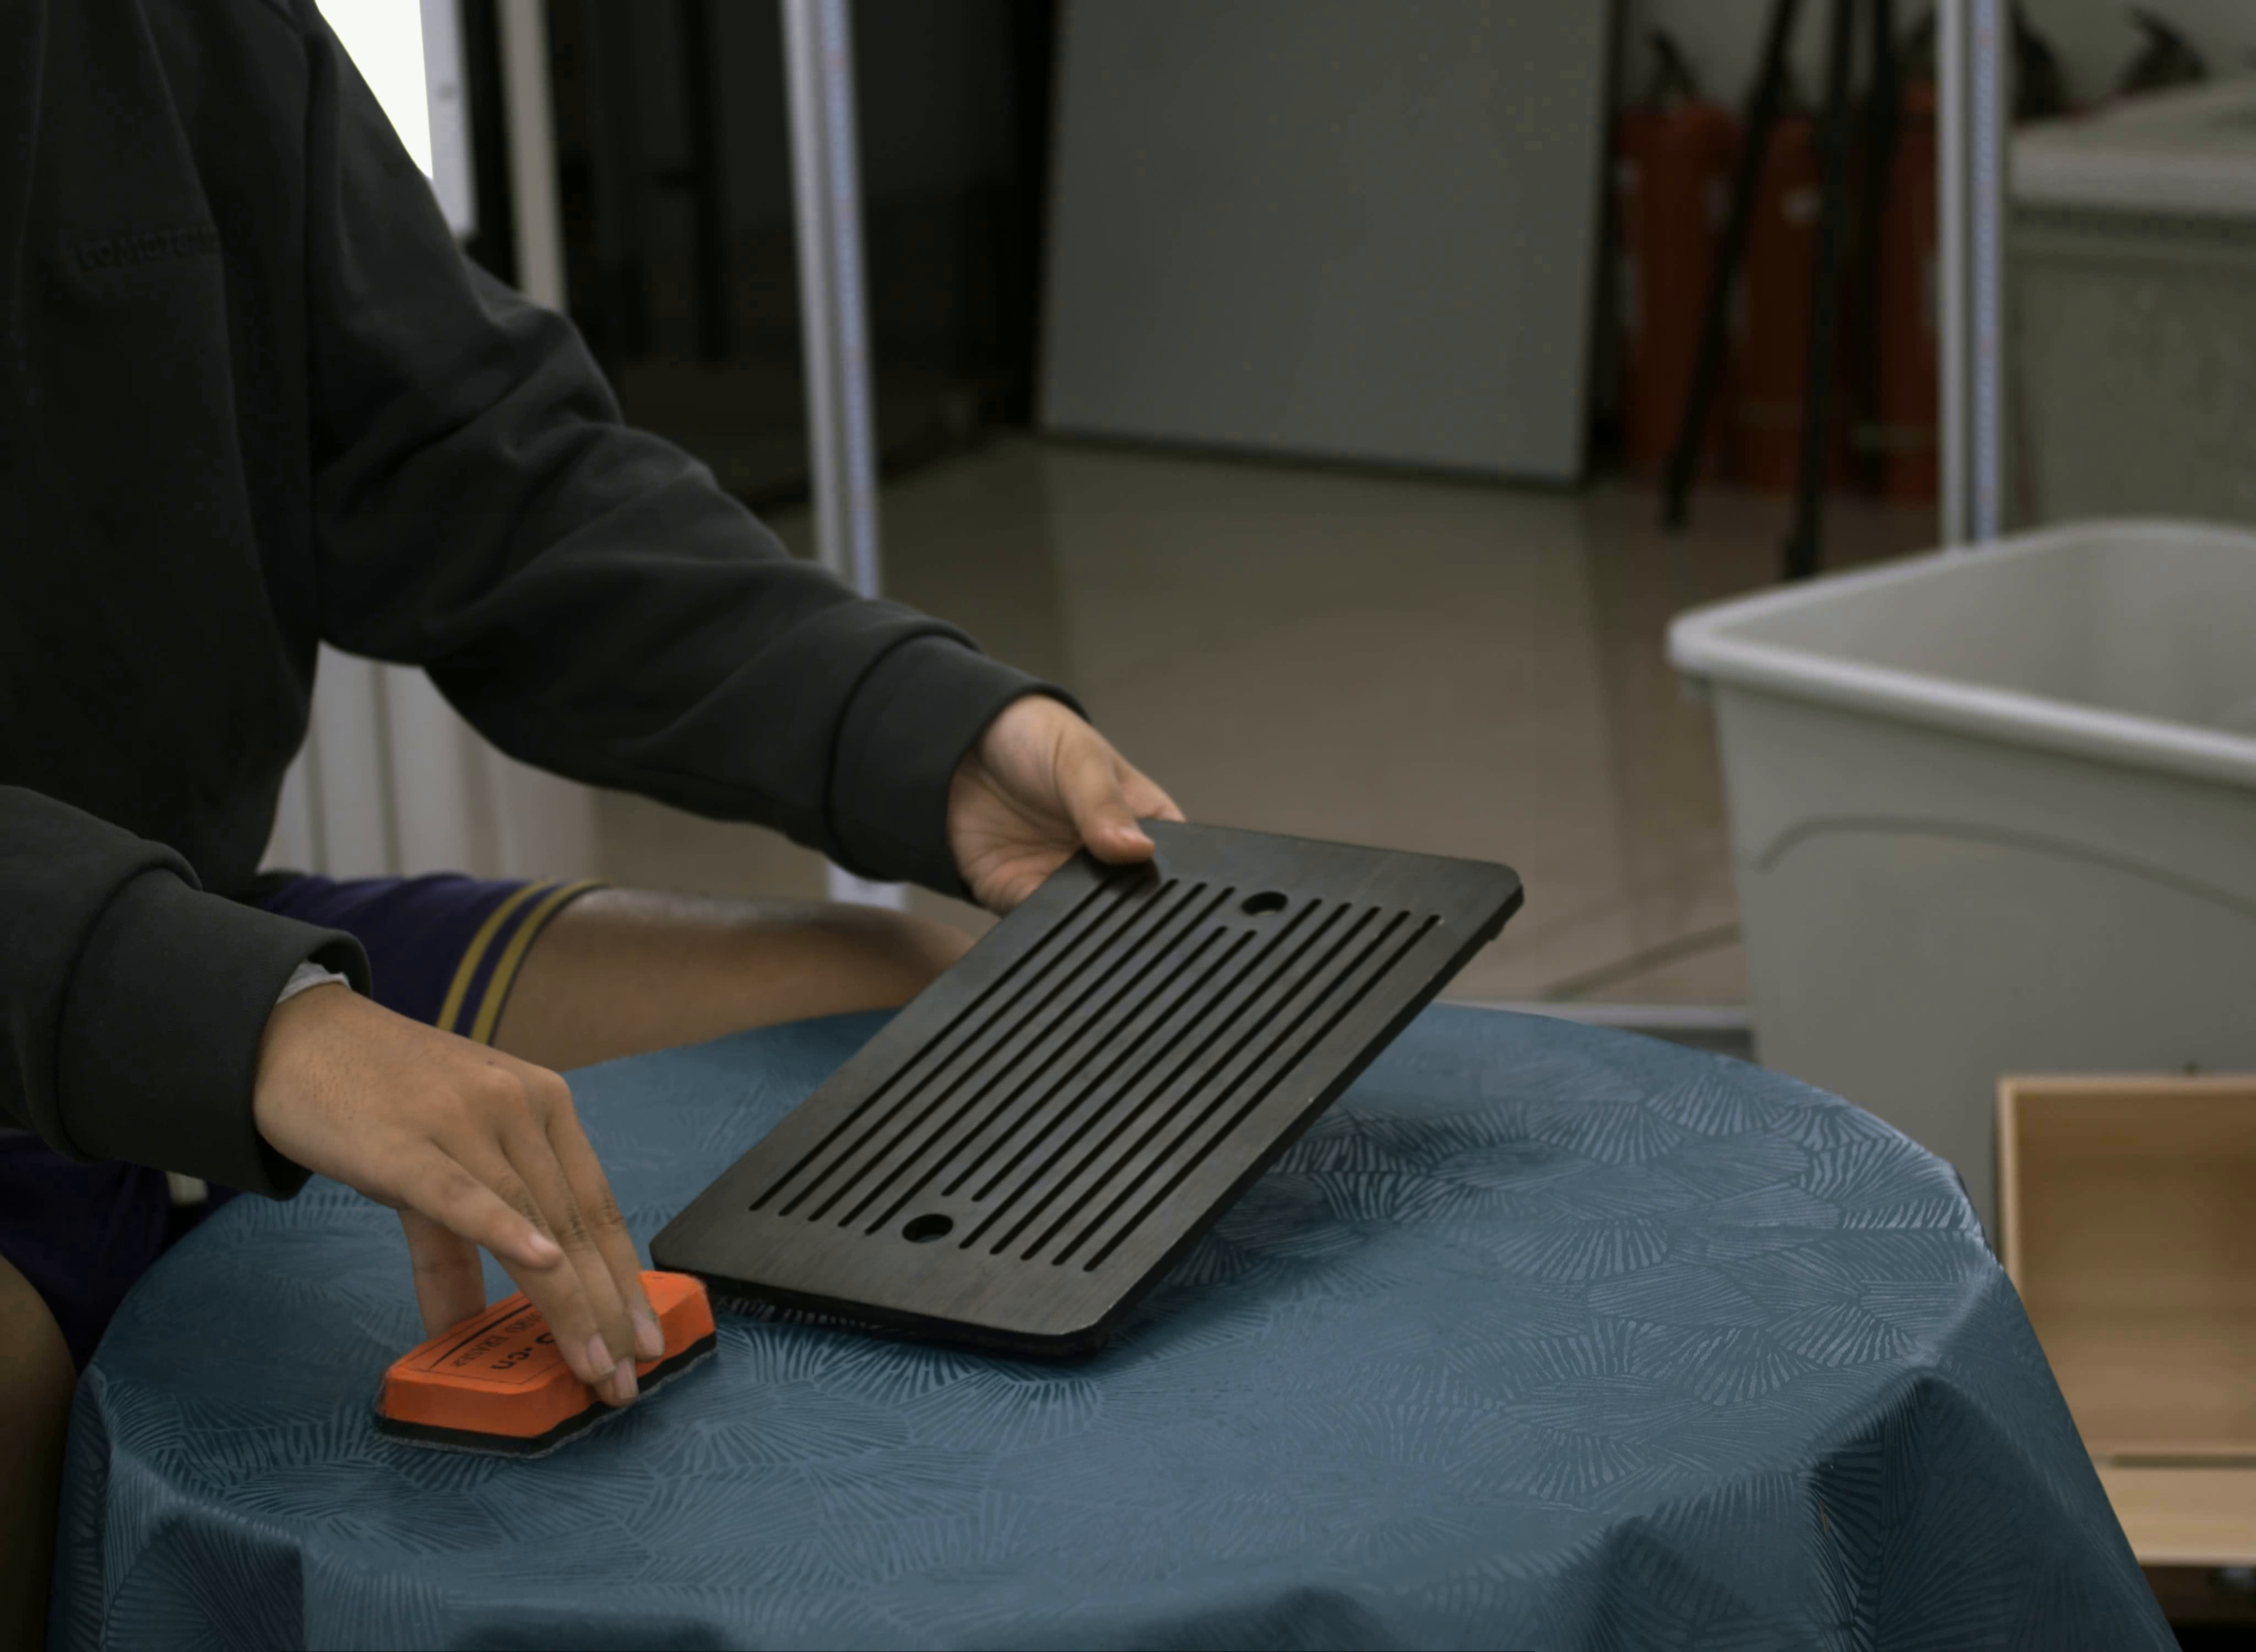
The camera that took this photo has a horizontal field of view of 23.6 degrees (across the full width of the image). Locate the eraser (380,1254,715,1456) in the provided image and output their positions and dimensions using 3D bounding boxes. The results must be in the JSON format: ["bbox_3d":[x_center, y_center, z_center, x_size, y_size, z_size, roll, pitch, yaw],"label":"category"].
[{"bbox_3d":[-0.171,0.157,1.610,0.059,0.023,0.106,3,17,29],"label":"eraser"}]

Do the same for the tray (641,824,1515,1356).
[{"bbox_3d":[-0.010,0.082,1.754,0.171,0.019,0.302,6,31,32],"label":"tray"}]
